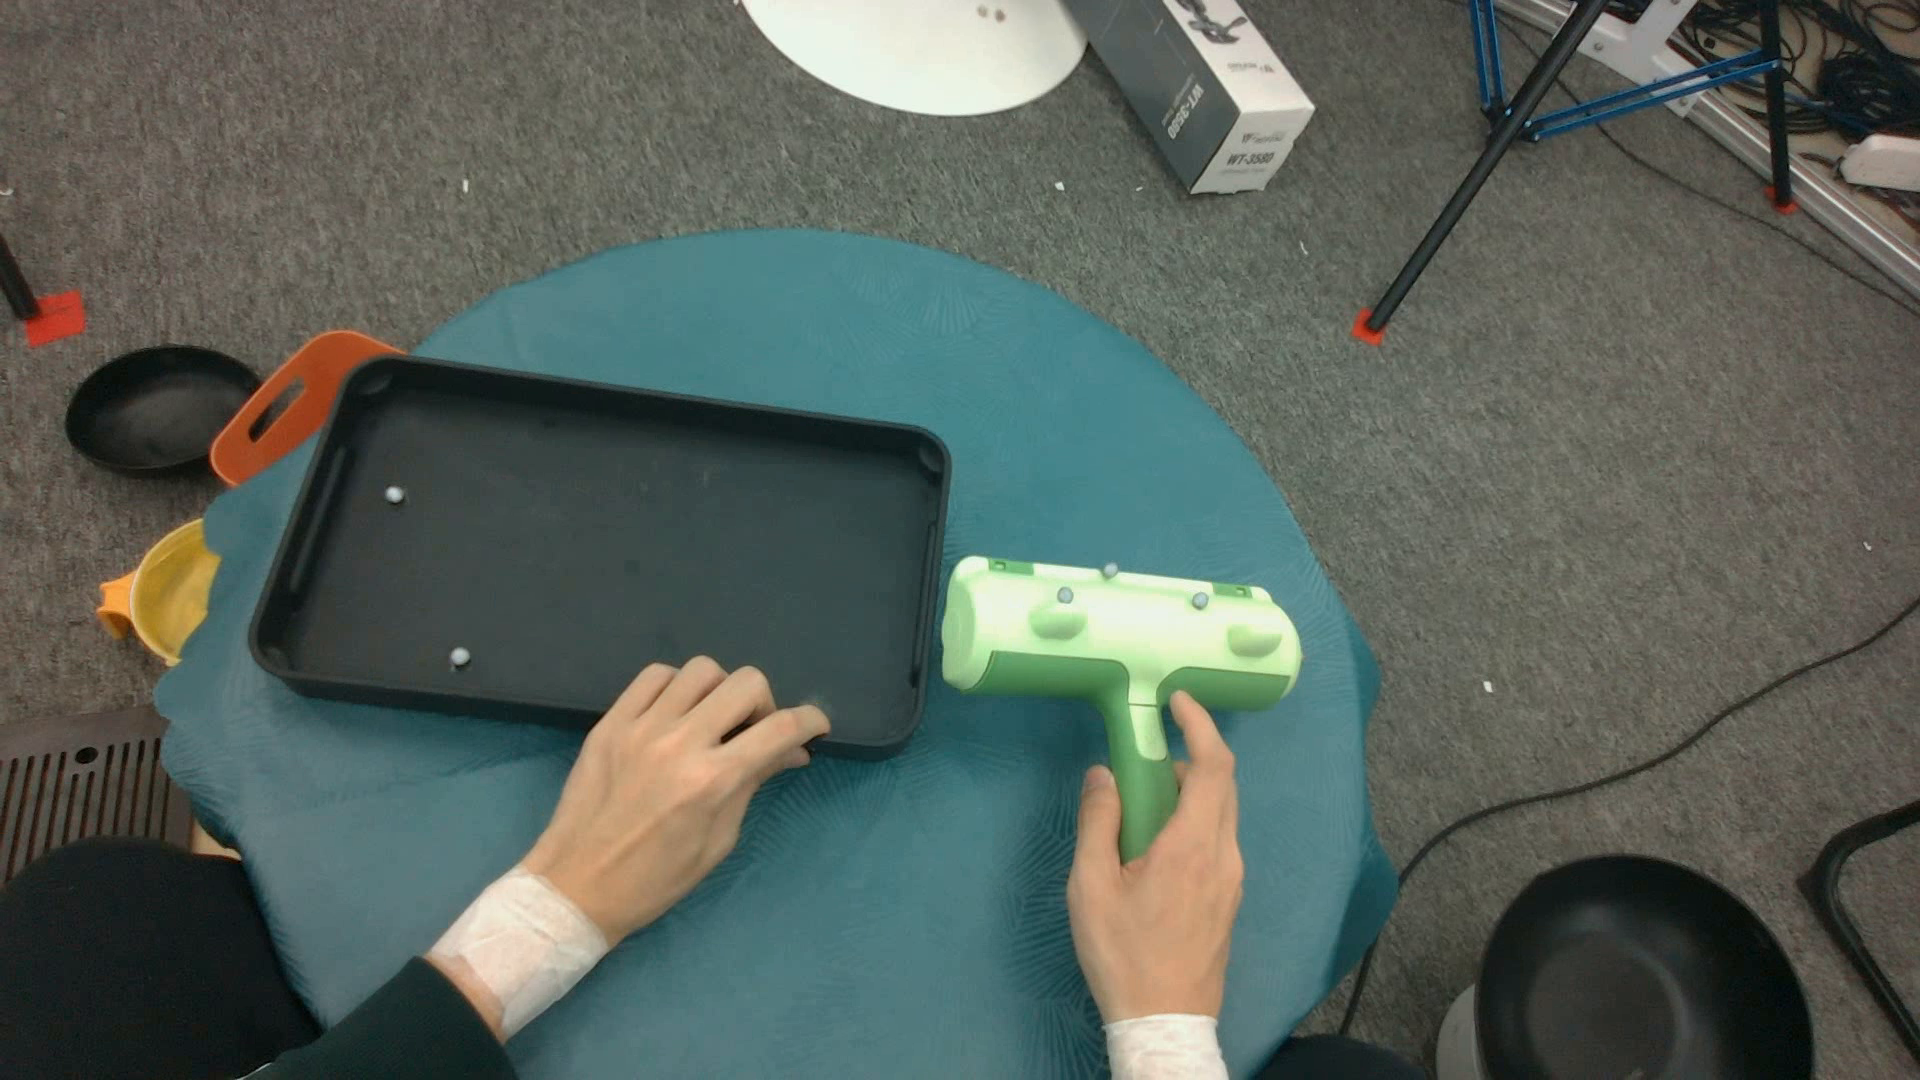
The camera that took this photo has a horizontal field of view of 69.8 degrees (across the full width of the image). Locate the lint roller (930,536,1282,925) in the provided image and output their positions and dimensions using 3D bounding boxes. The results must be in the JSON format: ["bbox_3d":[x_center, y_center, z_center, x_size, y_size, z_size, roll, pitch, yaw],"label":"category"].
[{"bbox_3d":[0.090,0.087,0.671,0.199,0.082,0.184,7,56,-30],"label":"lint roller"}]

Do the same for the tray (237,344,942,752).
[{"bbox_3d":[-0.174,0.003,0.692,0.318,0.037,0.185,7,64,-2],"label":"tray"}]
